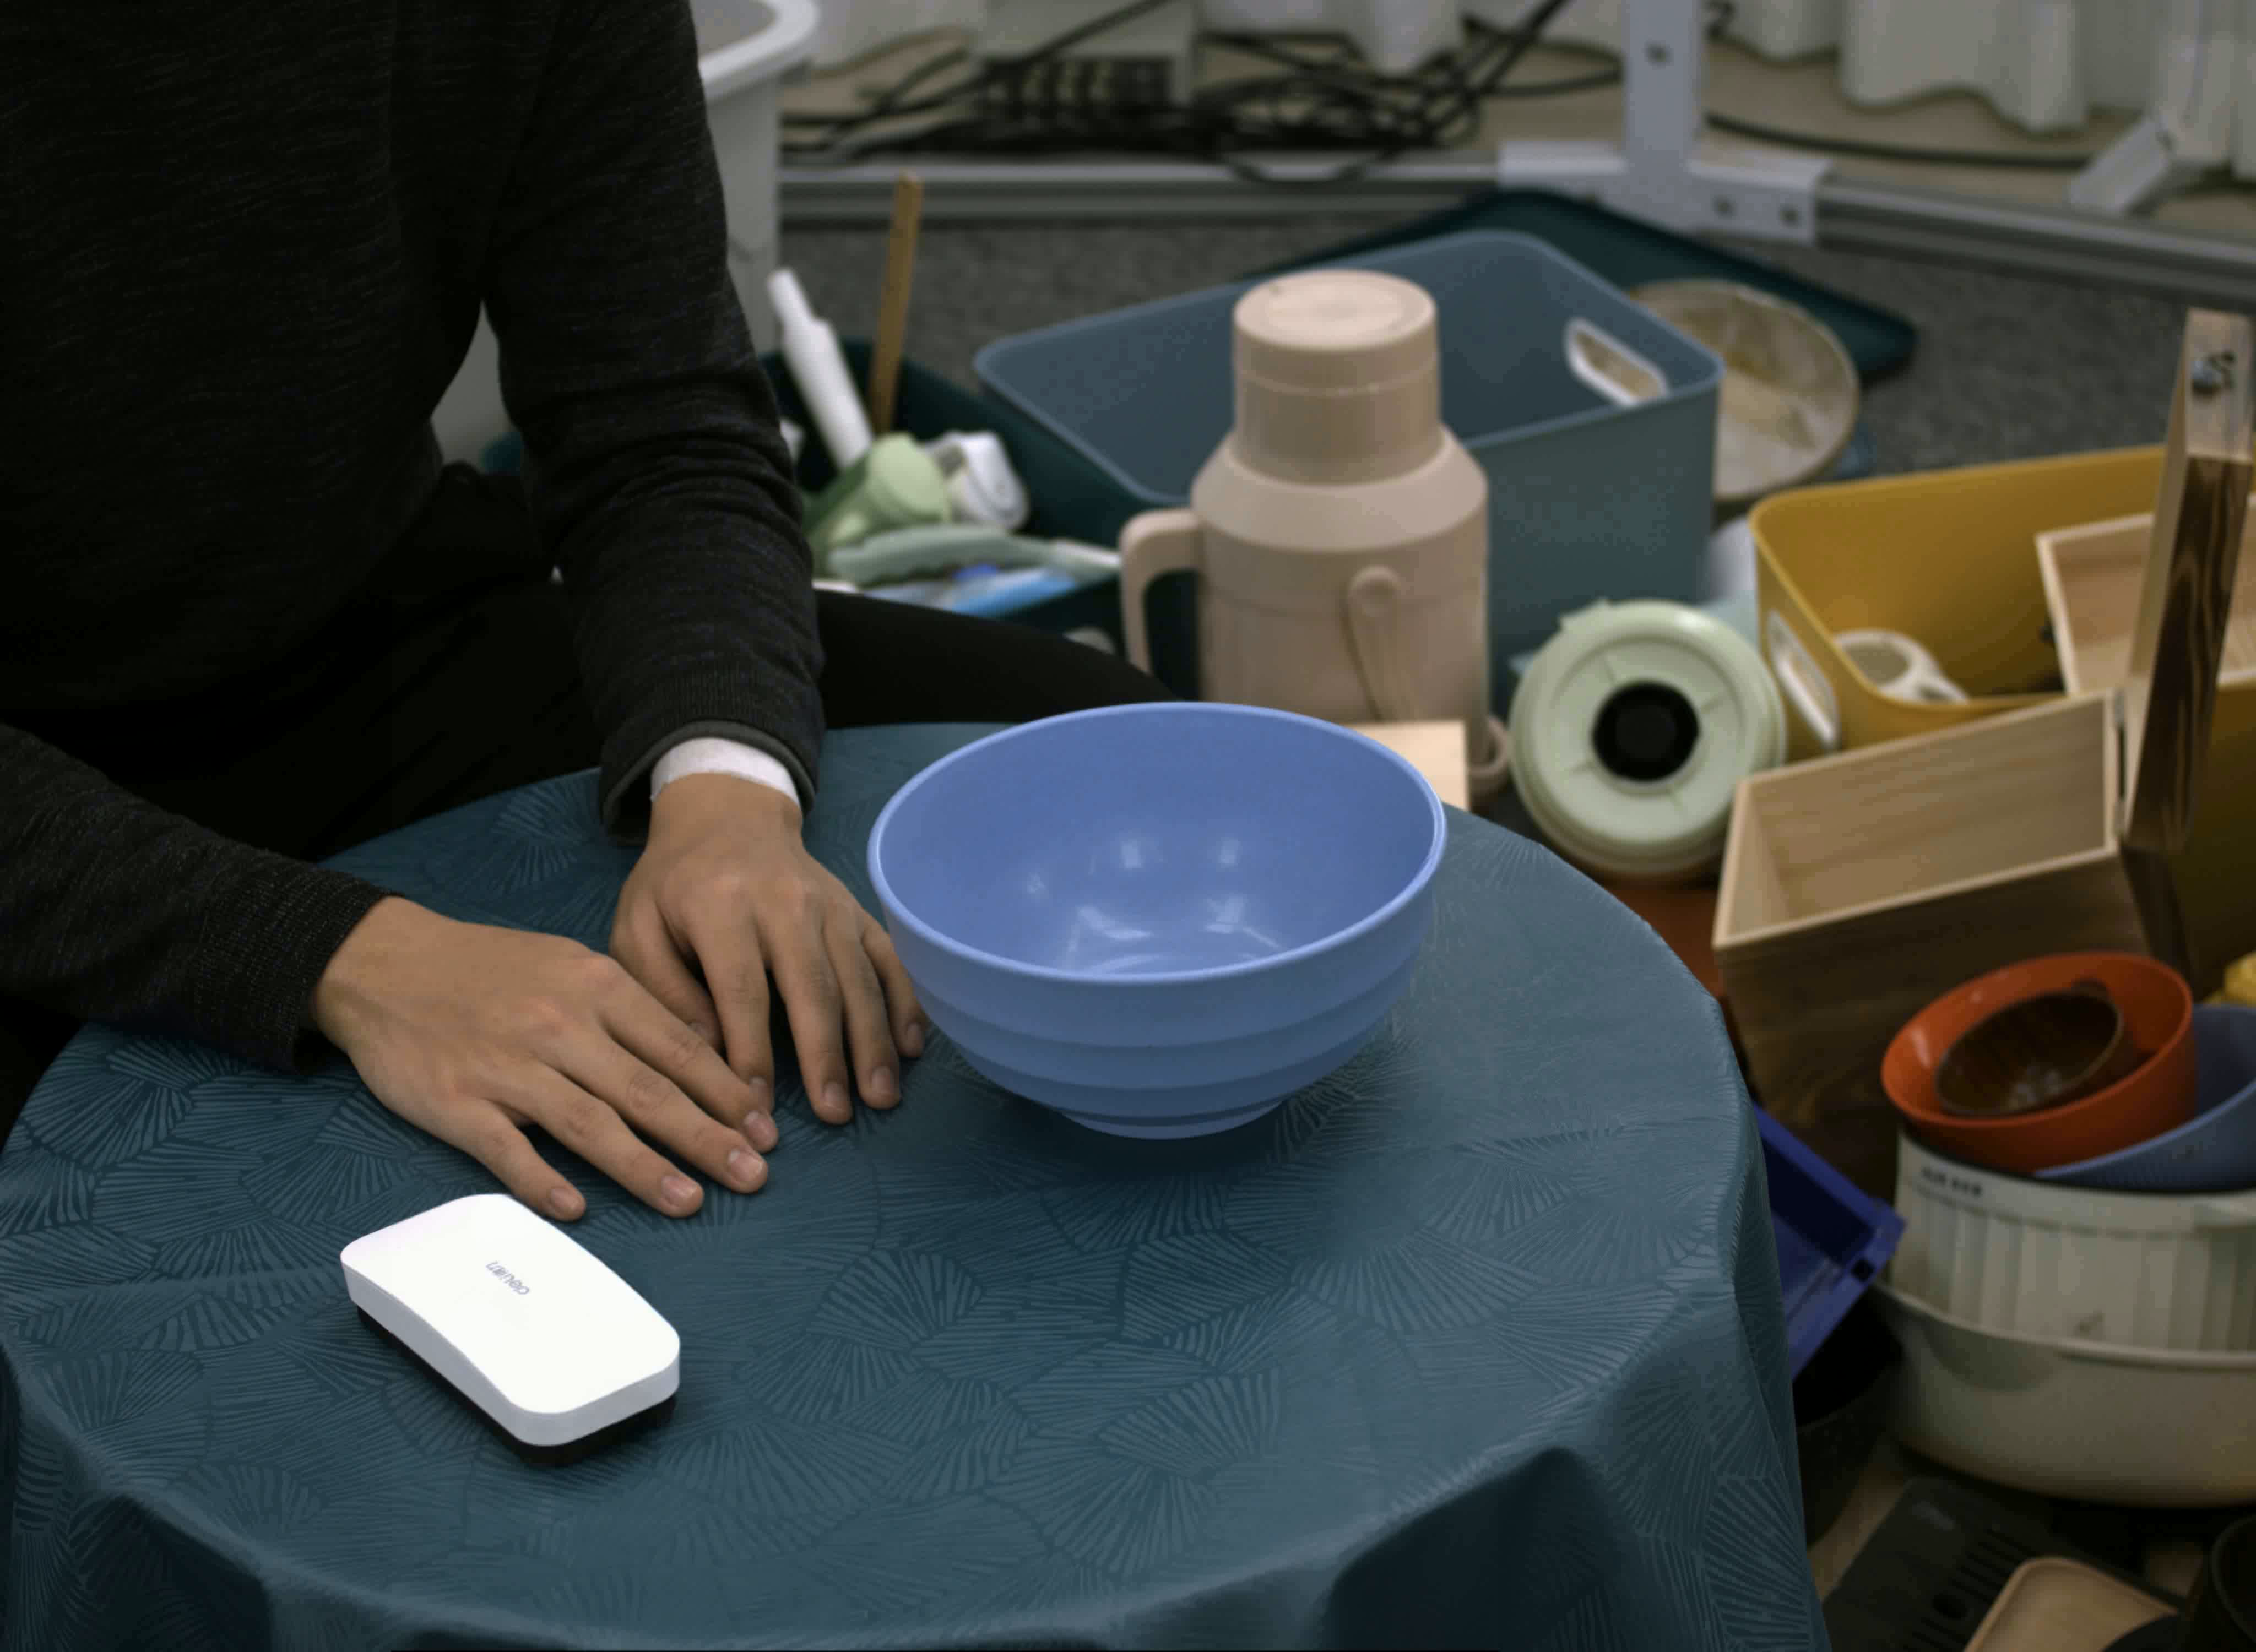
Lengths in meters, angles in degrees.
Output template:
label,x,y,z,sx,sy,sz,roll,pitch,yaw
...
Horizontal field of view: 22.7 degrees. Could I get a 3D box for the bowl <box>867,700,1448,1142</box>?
label,x,y,z,sx,sy,sz,roll,pitch,yaw
bowl,0.012,0.044,1.910,0.195,0.094,0.199,-2,28,1

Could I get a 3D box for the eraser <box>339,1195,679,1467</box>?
label,x,y,z,sx,sy,sz,roll,pitch,yaw
eraser,-0.196,0.157,1.780,0.064,0.034,0.131,-20,32,-31
